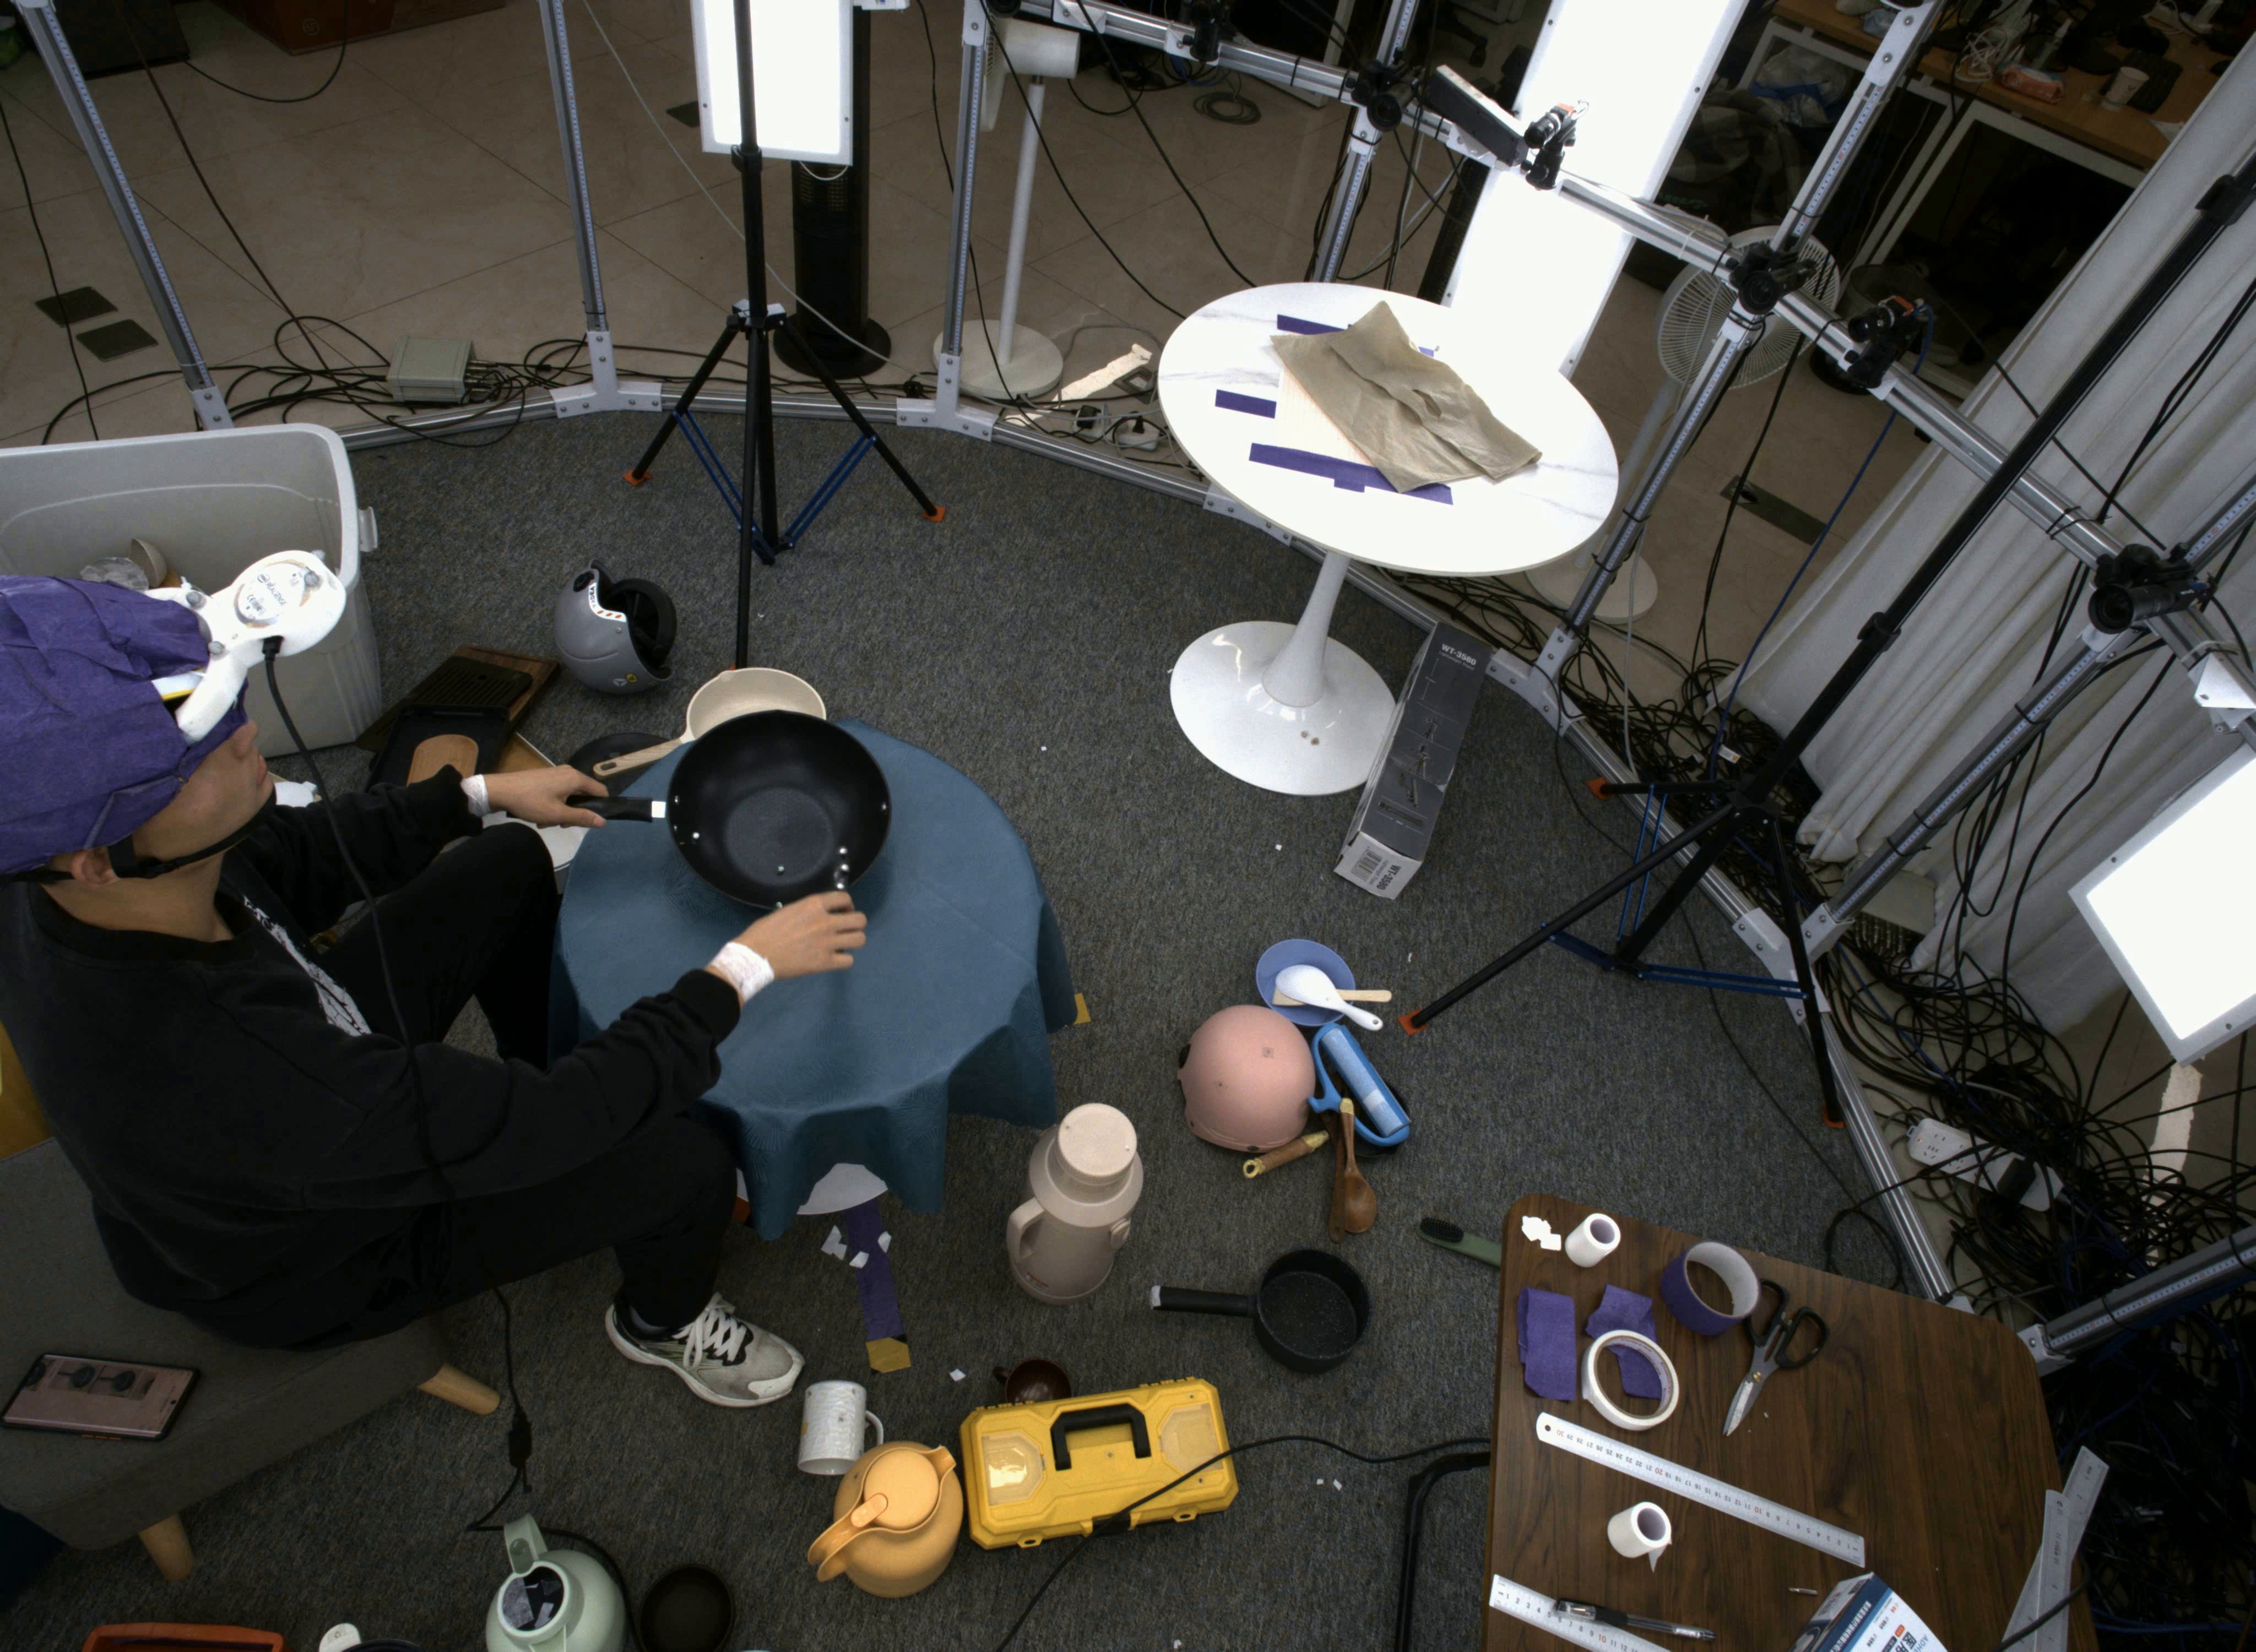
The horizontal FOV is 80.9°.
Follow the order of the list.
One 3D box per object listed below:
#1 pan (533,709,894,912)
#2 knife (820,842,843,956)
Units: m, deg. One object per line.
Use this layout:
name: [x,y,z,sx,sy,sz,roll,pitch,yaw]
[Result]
pan: [-0.530,-0.008,1.626,0.465,0.087,0.284,-1,64,-18]
knife: [-0.348,0.079,1.524,0.026,0.018,0.219,-3,34,-9]
